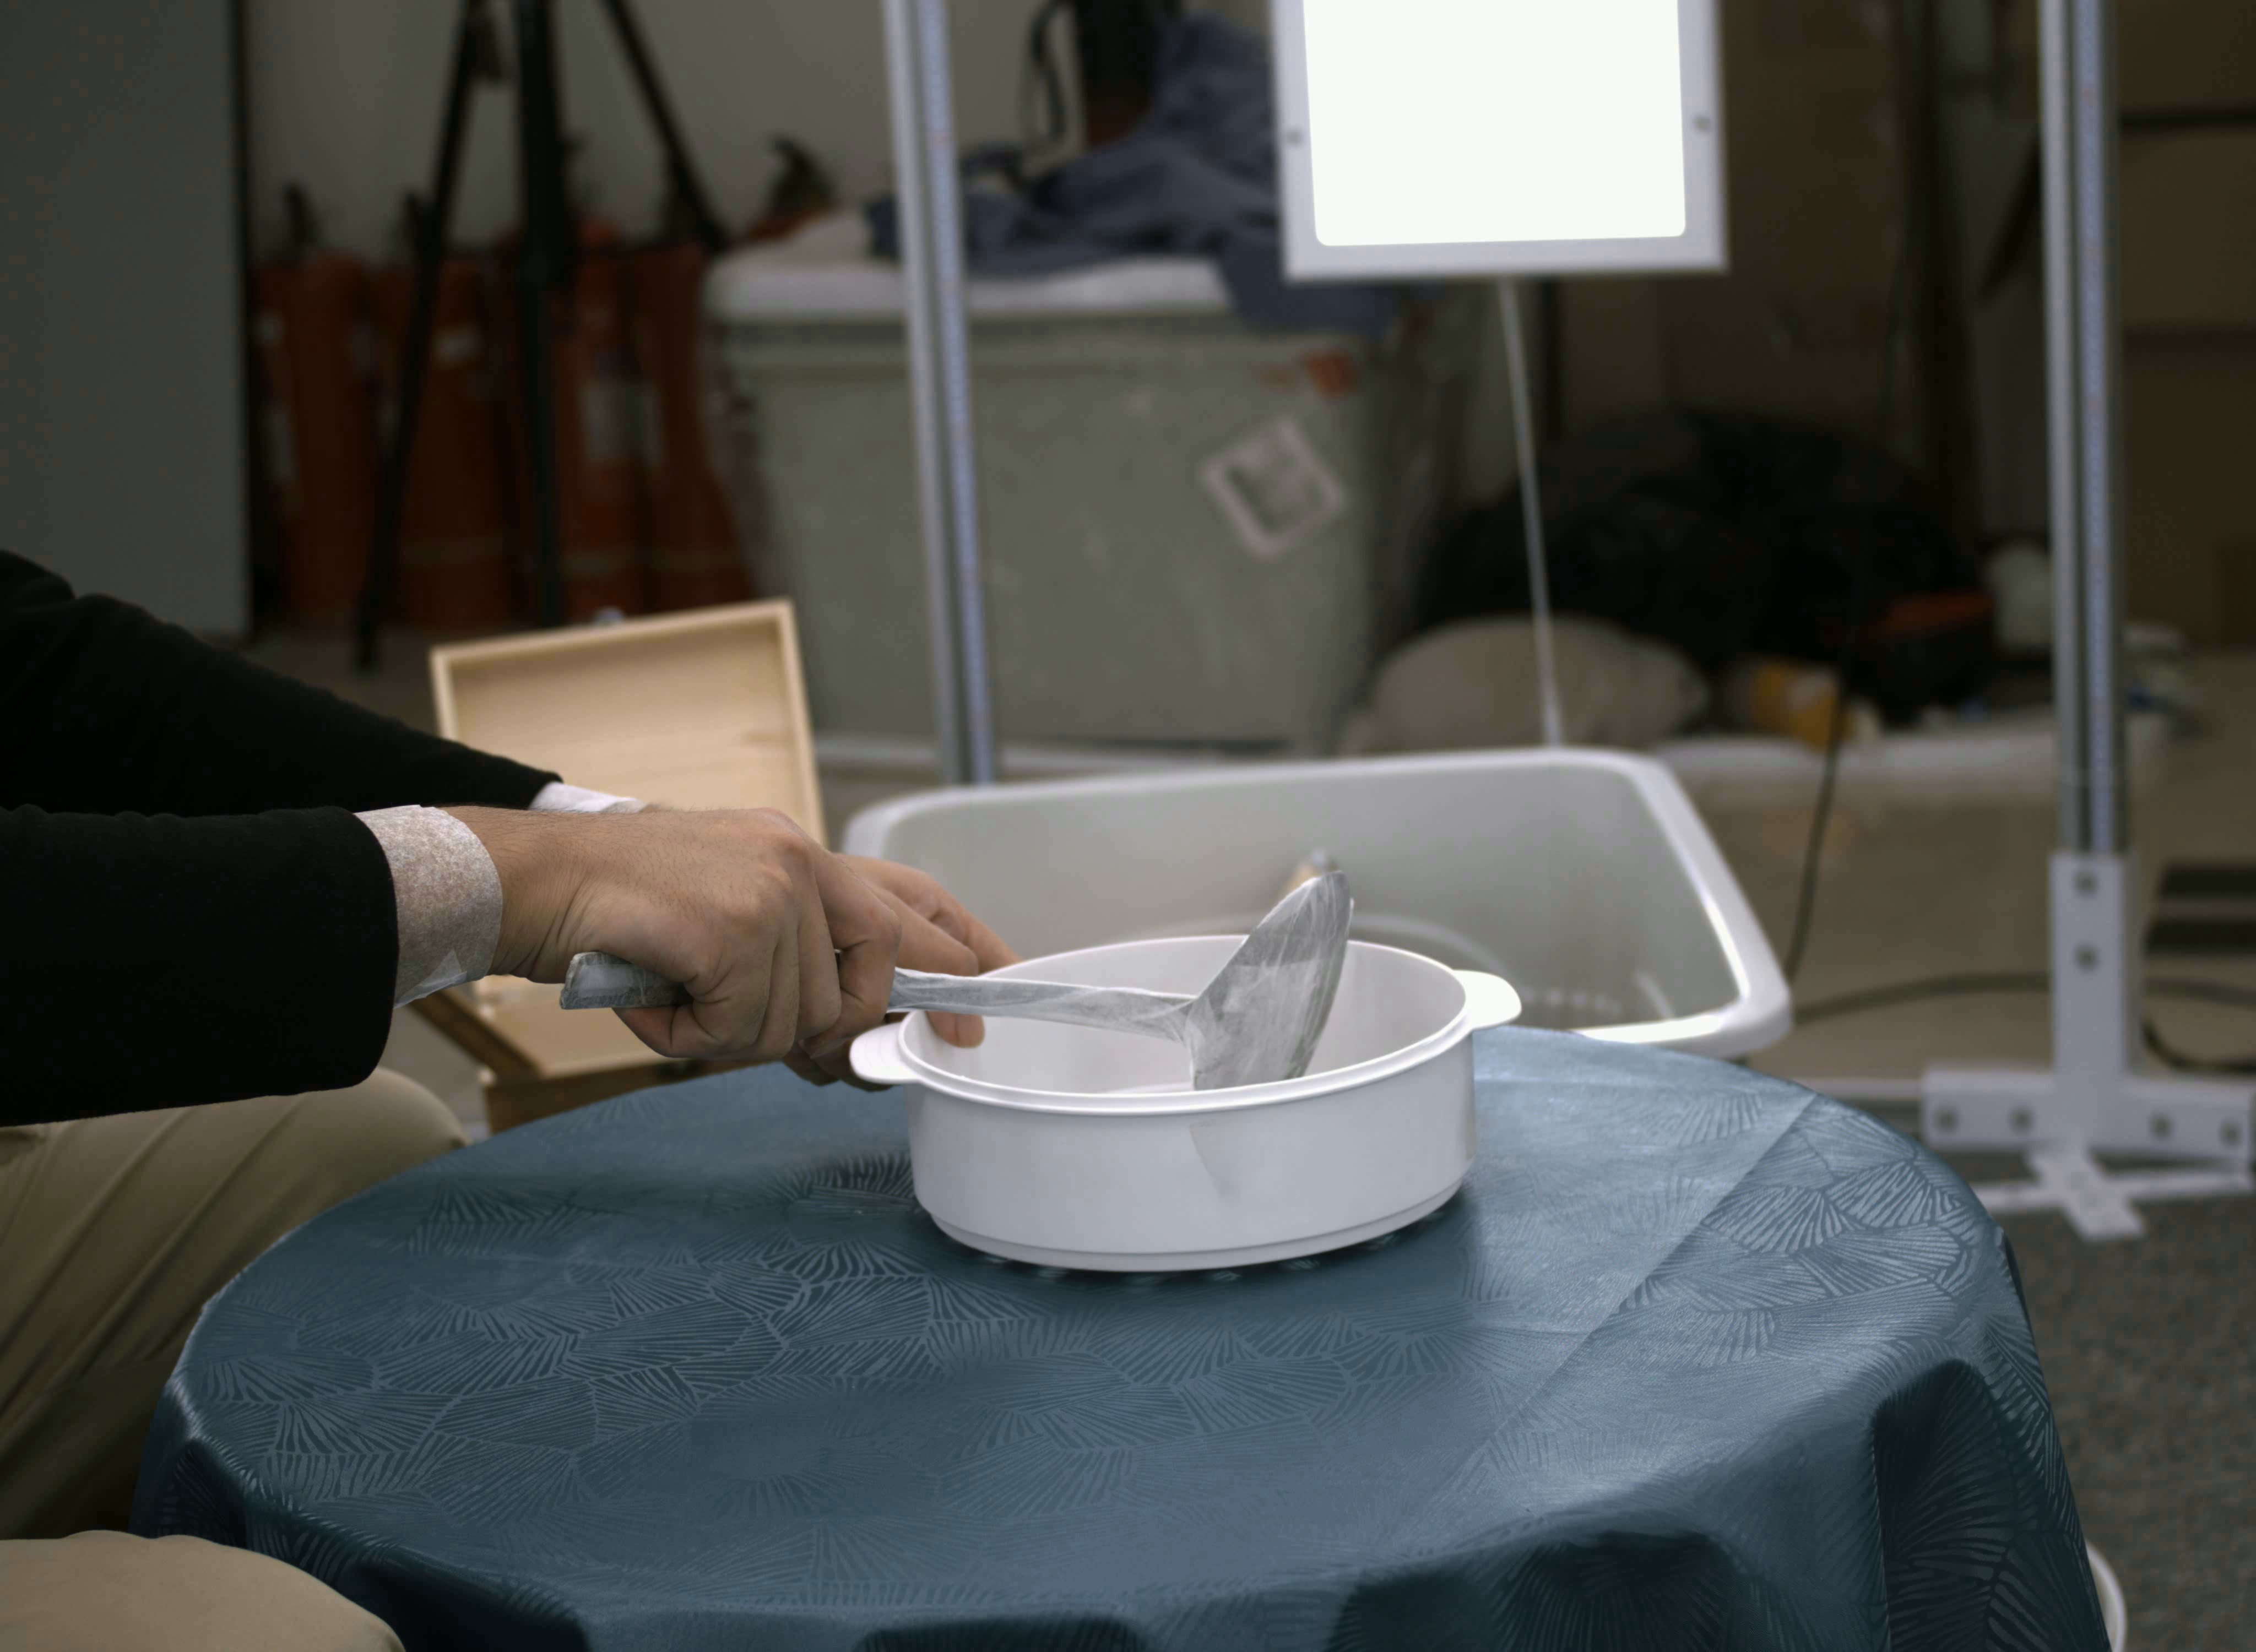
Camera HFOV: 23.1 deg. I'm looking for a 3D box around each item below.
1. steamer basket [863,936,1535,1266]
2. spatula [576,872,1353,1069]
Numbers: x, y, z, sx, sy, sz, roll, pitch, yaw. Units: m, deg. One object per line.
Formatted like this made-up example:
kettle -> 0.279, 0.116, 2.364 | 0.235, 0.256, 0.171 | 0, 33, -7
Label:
steamer basket -> 0.027, 0.094, 1.876 | 0.230, 0.069, 0.202 | -6, 13, -1
spatula -> -0.047, 0.057, 1.808 | 0.356, 0.099, 0.045 | 5, 19, -42
